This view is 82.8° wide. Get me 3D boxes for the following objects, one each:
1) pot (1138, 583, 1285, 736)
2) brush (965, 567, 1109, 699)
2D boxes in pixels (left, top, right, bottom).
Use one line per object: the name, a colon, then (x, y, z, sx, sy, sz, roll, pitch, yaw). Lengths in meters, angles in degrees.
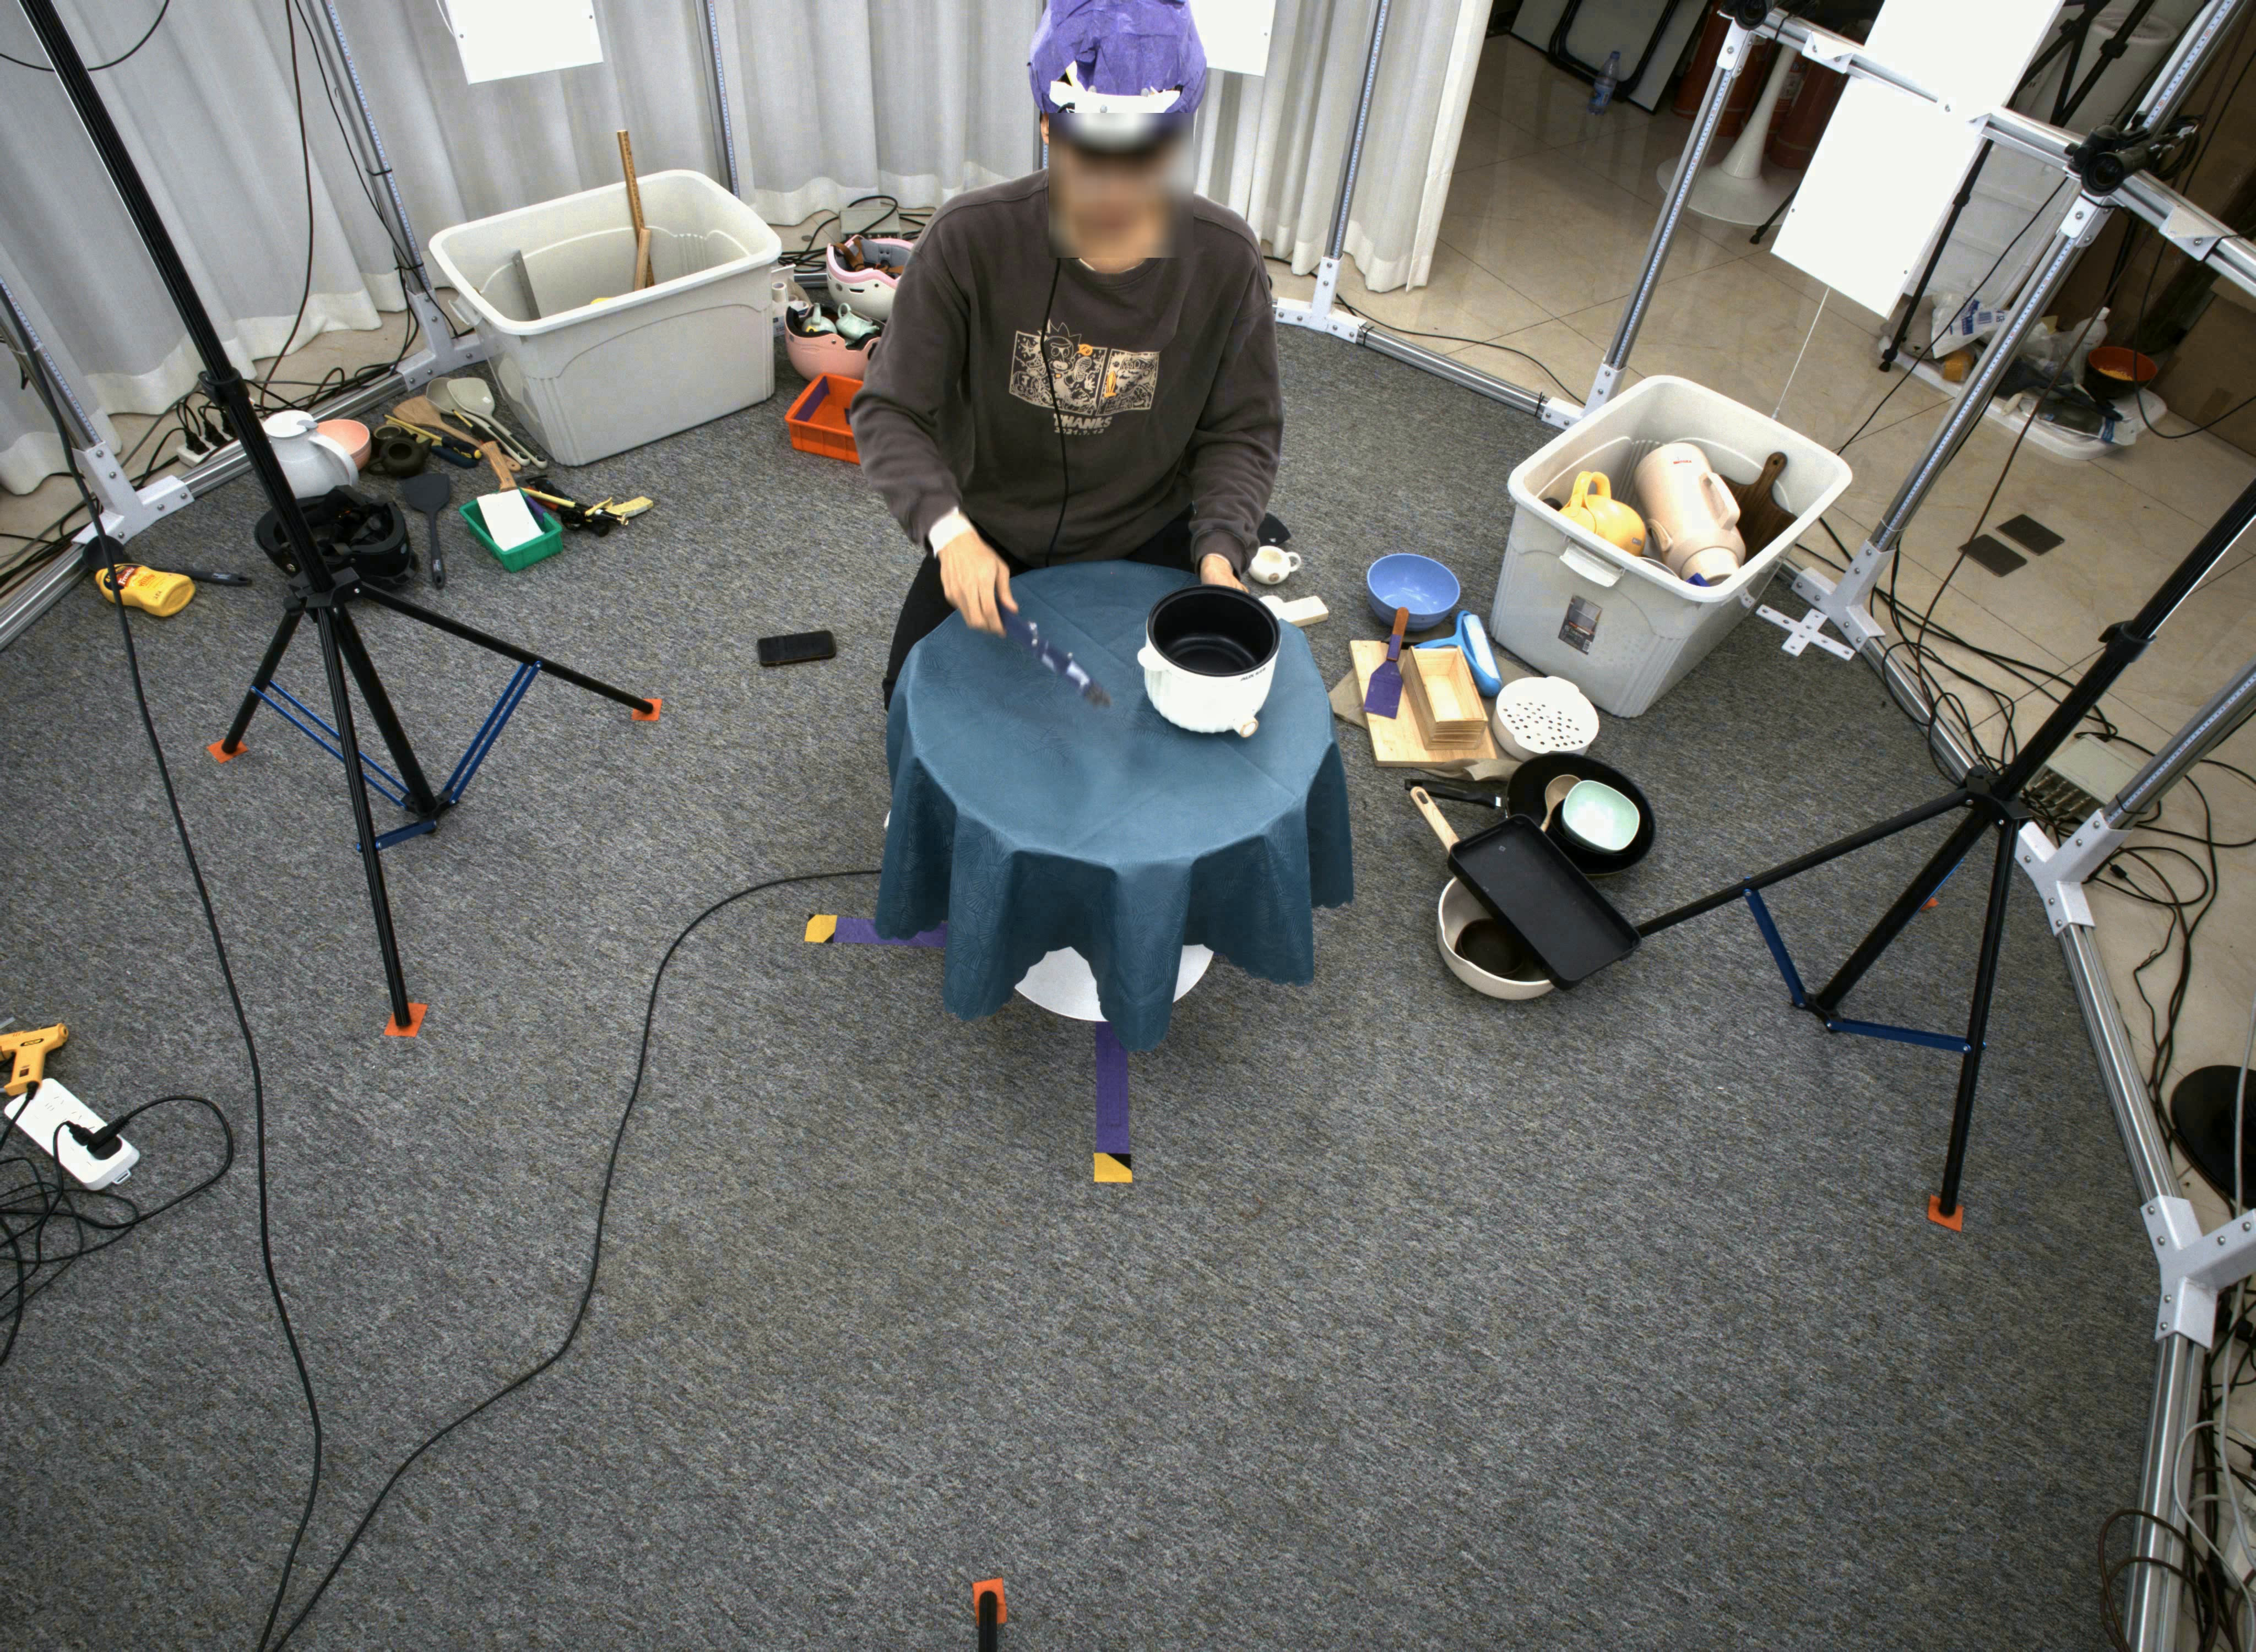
pot: (0.118, -0.222, 1.776, 0.241, 0.139, 0.194, -27, 52, -23)
brush: (-0.127, -0.258, 1.708, 0.276, 0.033, 0.095, 41, 13, 16)
